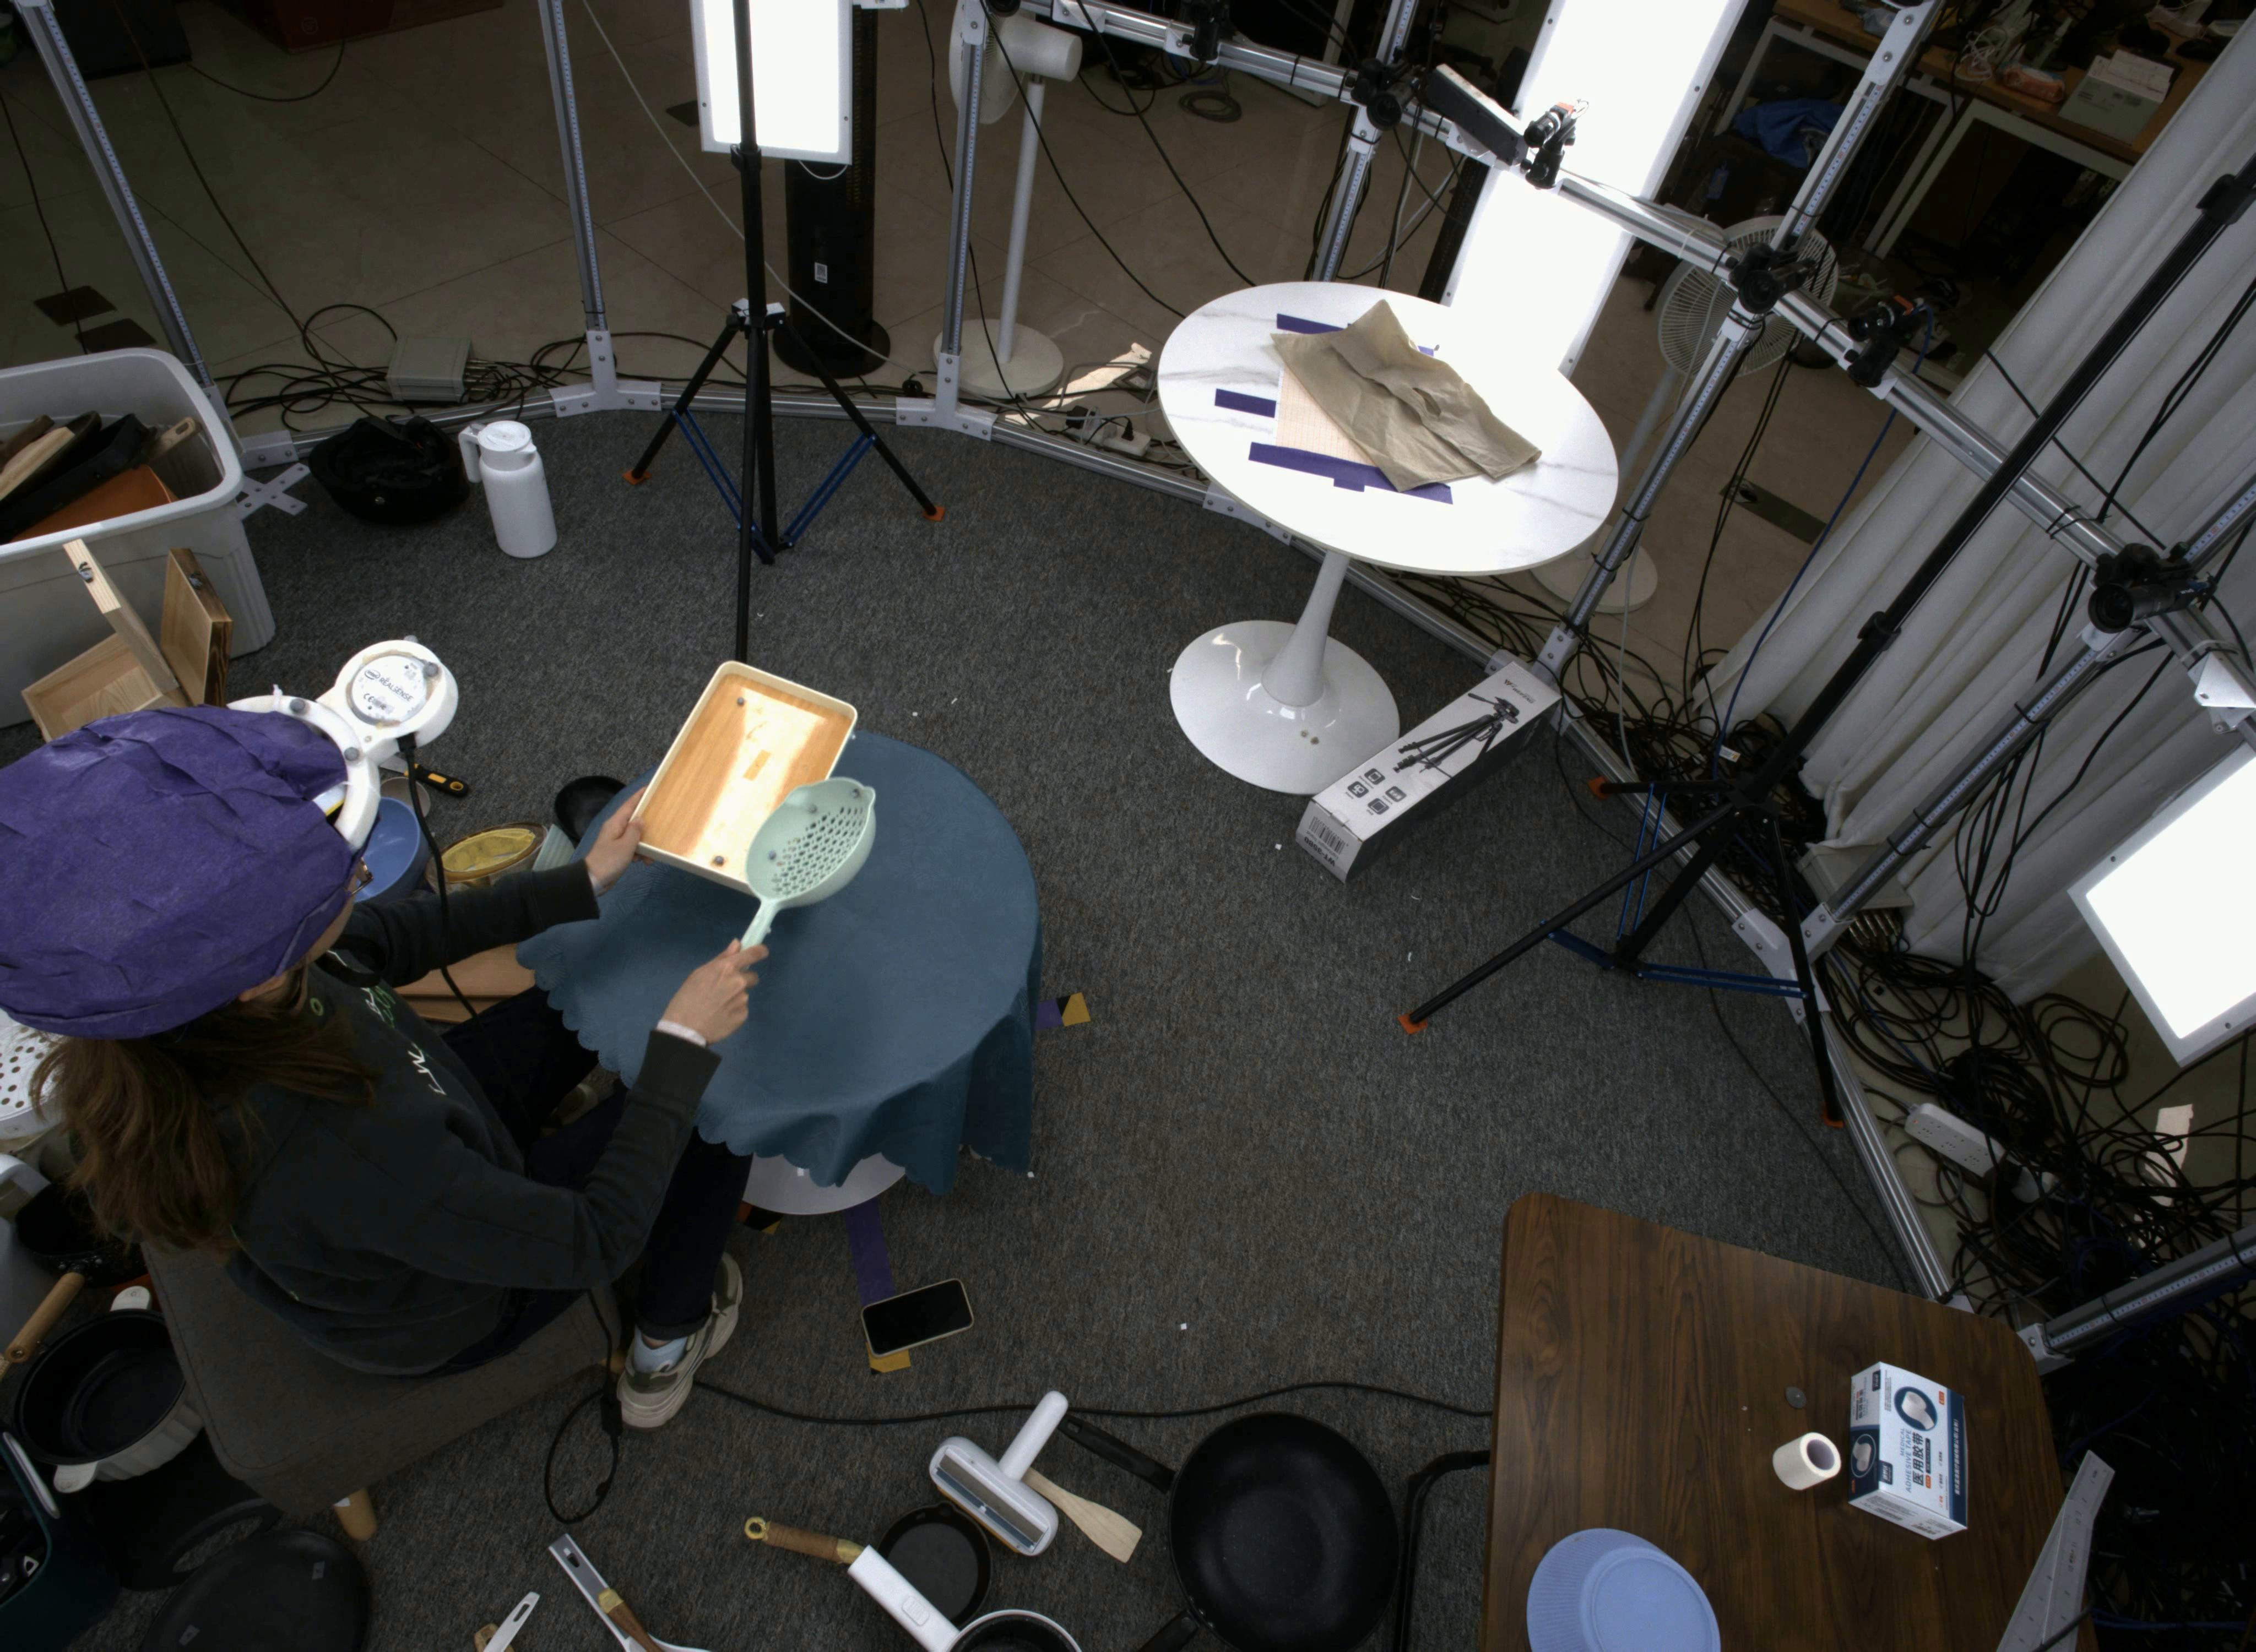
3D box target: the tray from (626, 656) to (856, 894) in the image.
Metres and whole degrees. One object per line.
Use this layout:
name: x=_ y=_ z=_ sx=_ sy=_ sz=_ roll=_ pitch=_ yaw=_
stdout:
tray: x=-0.476 y=-0.069 z=1.606 sx=0.191 sy=0.027 sz=0.297 roll=22 pitch=55 yaw=-7

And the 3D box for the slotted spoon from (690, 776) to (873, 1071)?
slotted spoon: x=-0.393 y=0.097 z=1.419 sx=0.164 sy=0.078 sz=0.357 roll=3 pitch=48 yaw=34
